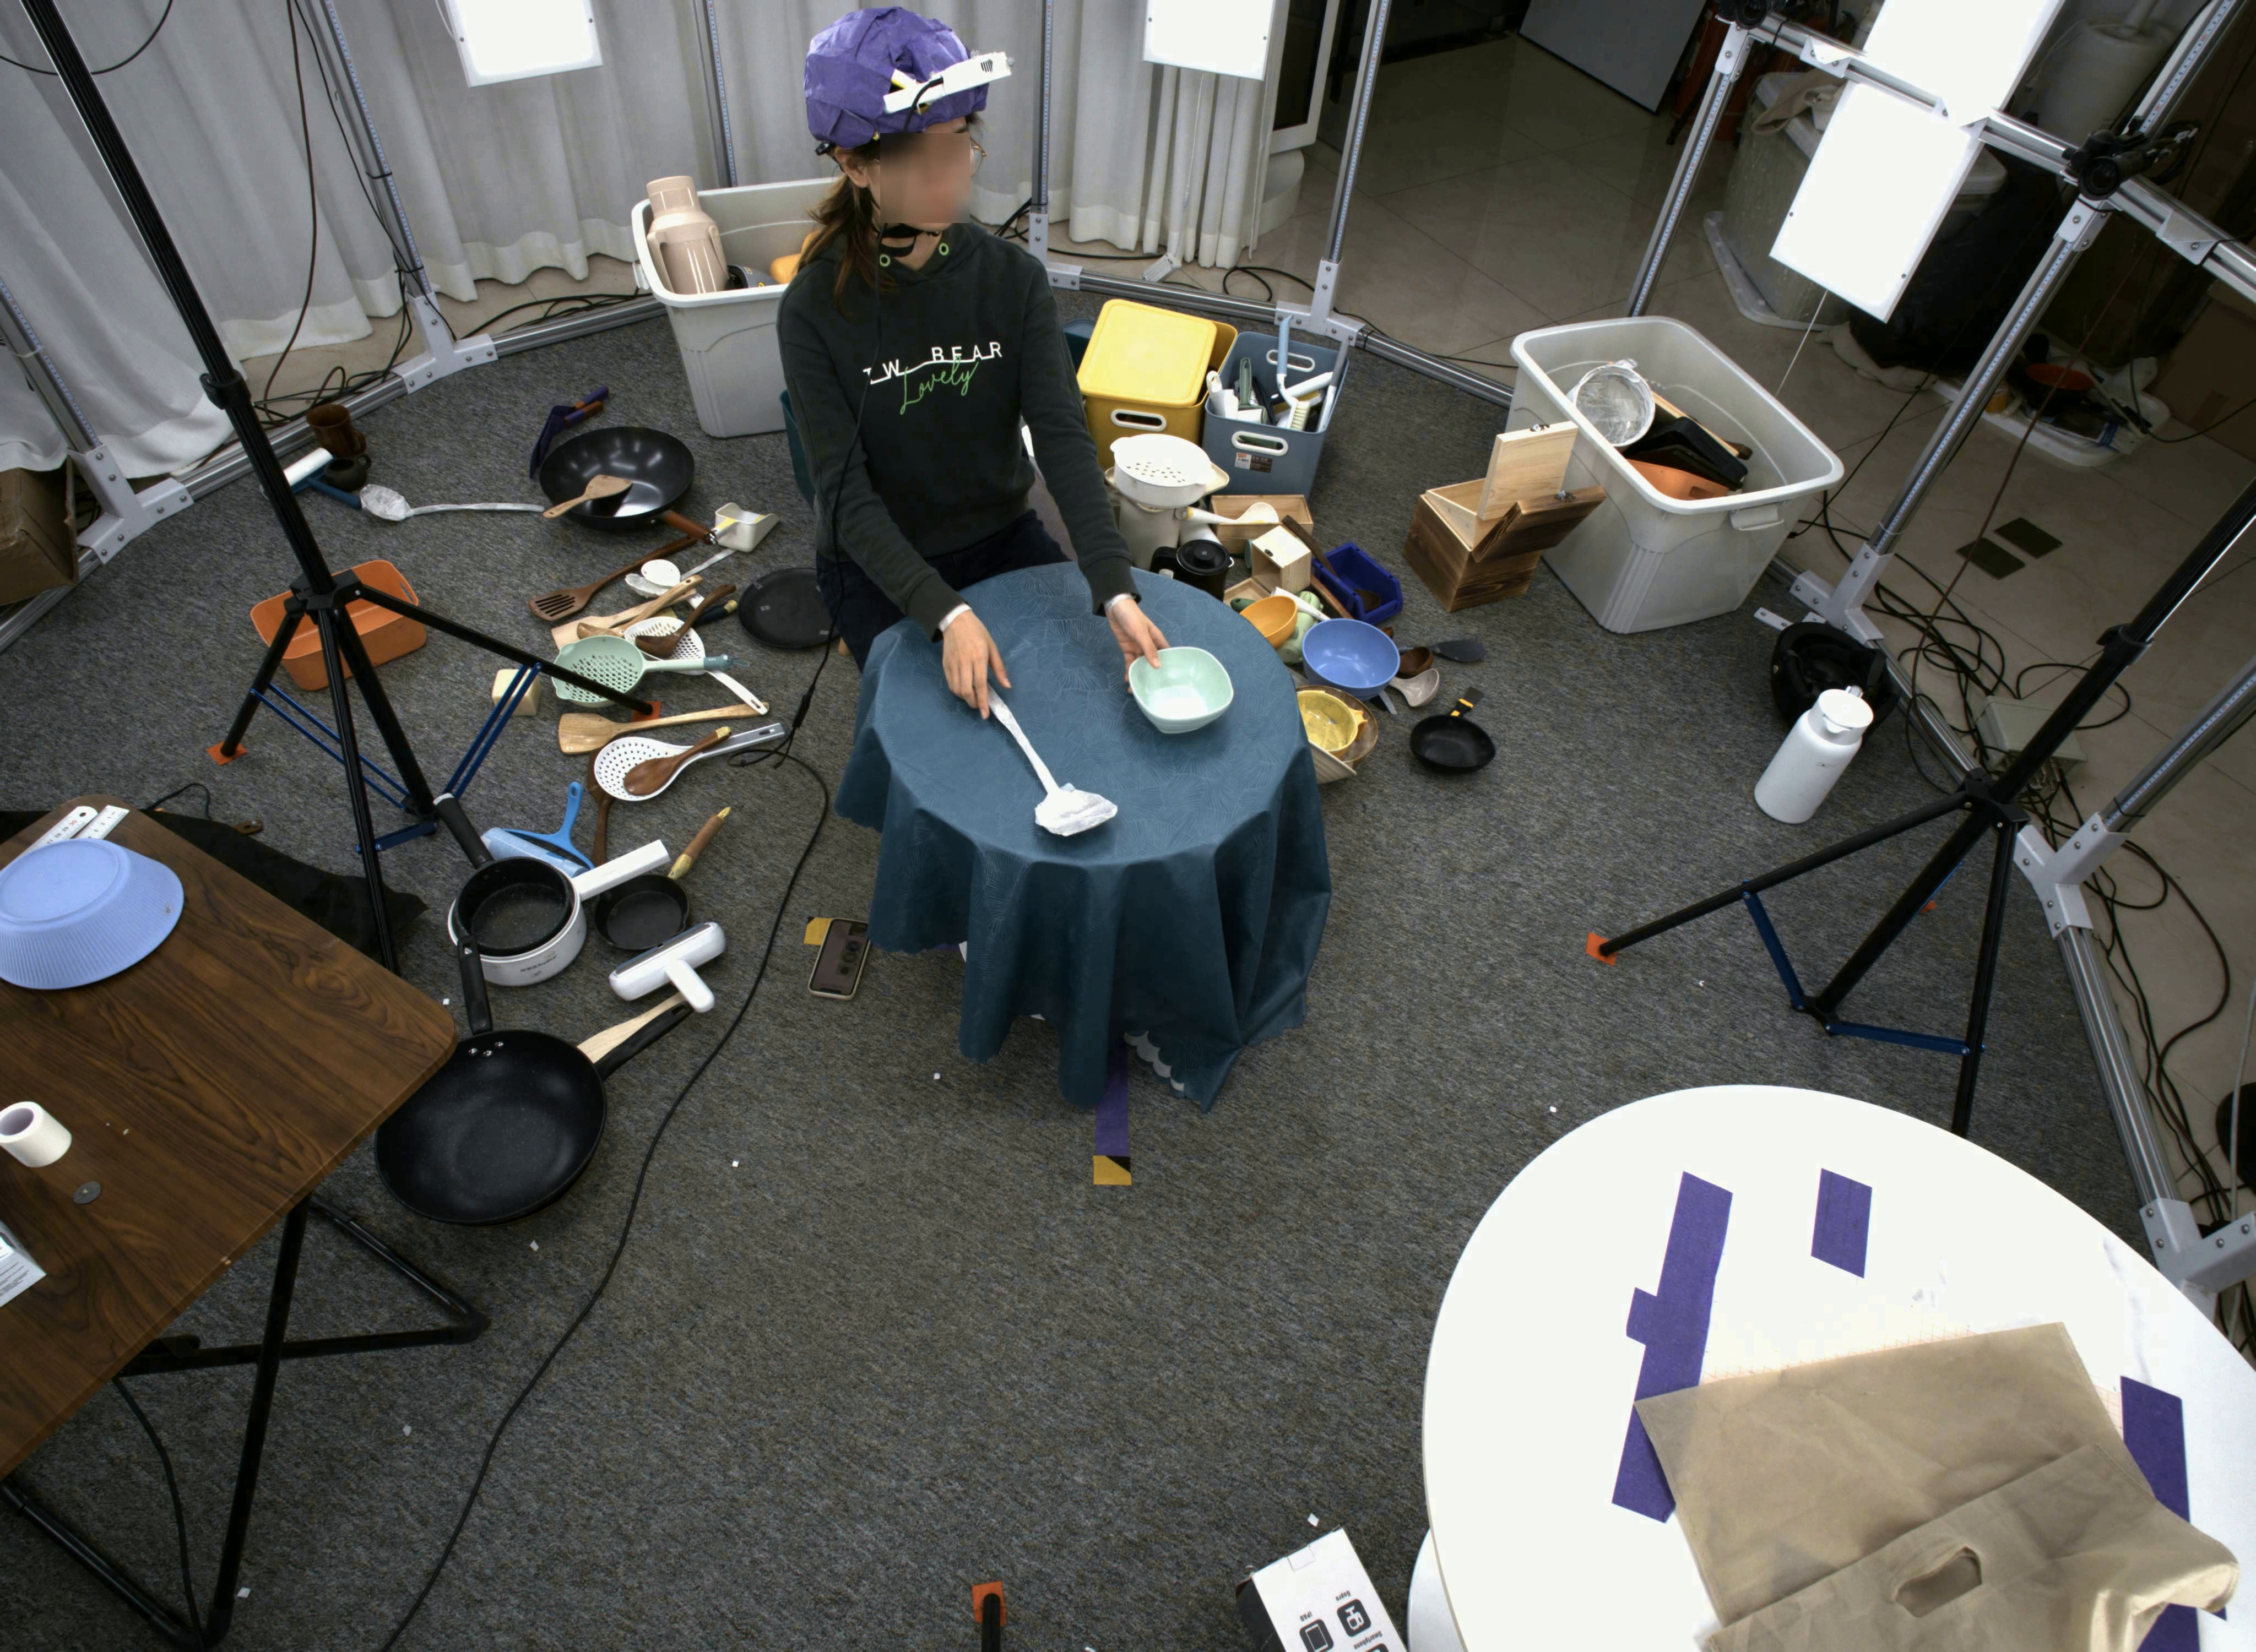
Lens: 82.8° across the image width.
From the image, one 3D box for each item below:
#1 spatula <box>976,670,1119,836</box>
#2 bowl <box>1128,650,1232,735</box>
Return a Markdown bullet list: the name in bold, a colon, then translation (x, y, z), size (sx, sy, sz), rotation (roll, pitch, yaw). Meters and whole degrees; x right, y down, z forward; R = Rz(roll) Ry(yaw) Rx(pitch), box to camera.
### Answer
- **spatula**: translation (-0.133, -0.111, 1.746), size (0.099, 0.043, 0.373), rotation (-21, 54, -19)
- **bowl**: translation (0.070, -0.180, 1.811), size (0.151, 0.057, 0.155), rotation (3, 49, -4)
